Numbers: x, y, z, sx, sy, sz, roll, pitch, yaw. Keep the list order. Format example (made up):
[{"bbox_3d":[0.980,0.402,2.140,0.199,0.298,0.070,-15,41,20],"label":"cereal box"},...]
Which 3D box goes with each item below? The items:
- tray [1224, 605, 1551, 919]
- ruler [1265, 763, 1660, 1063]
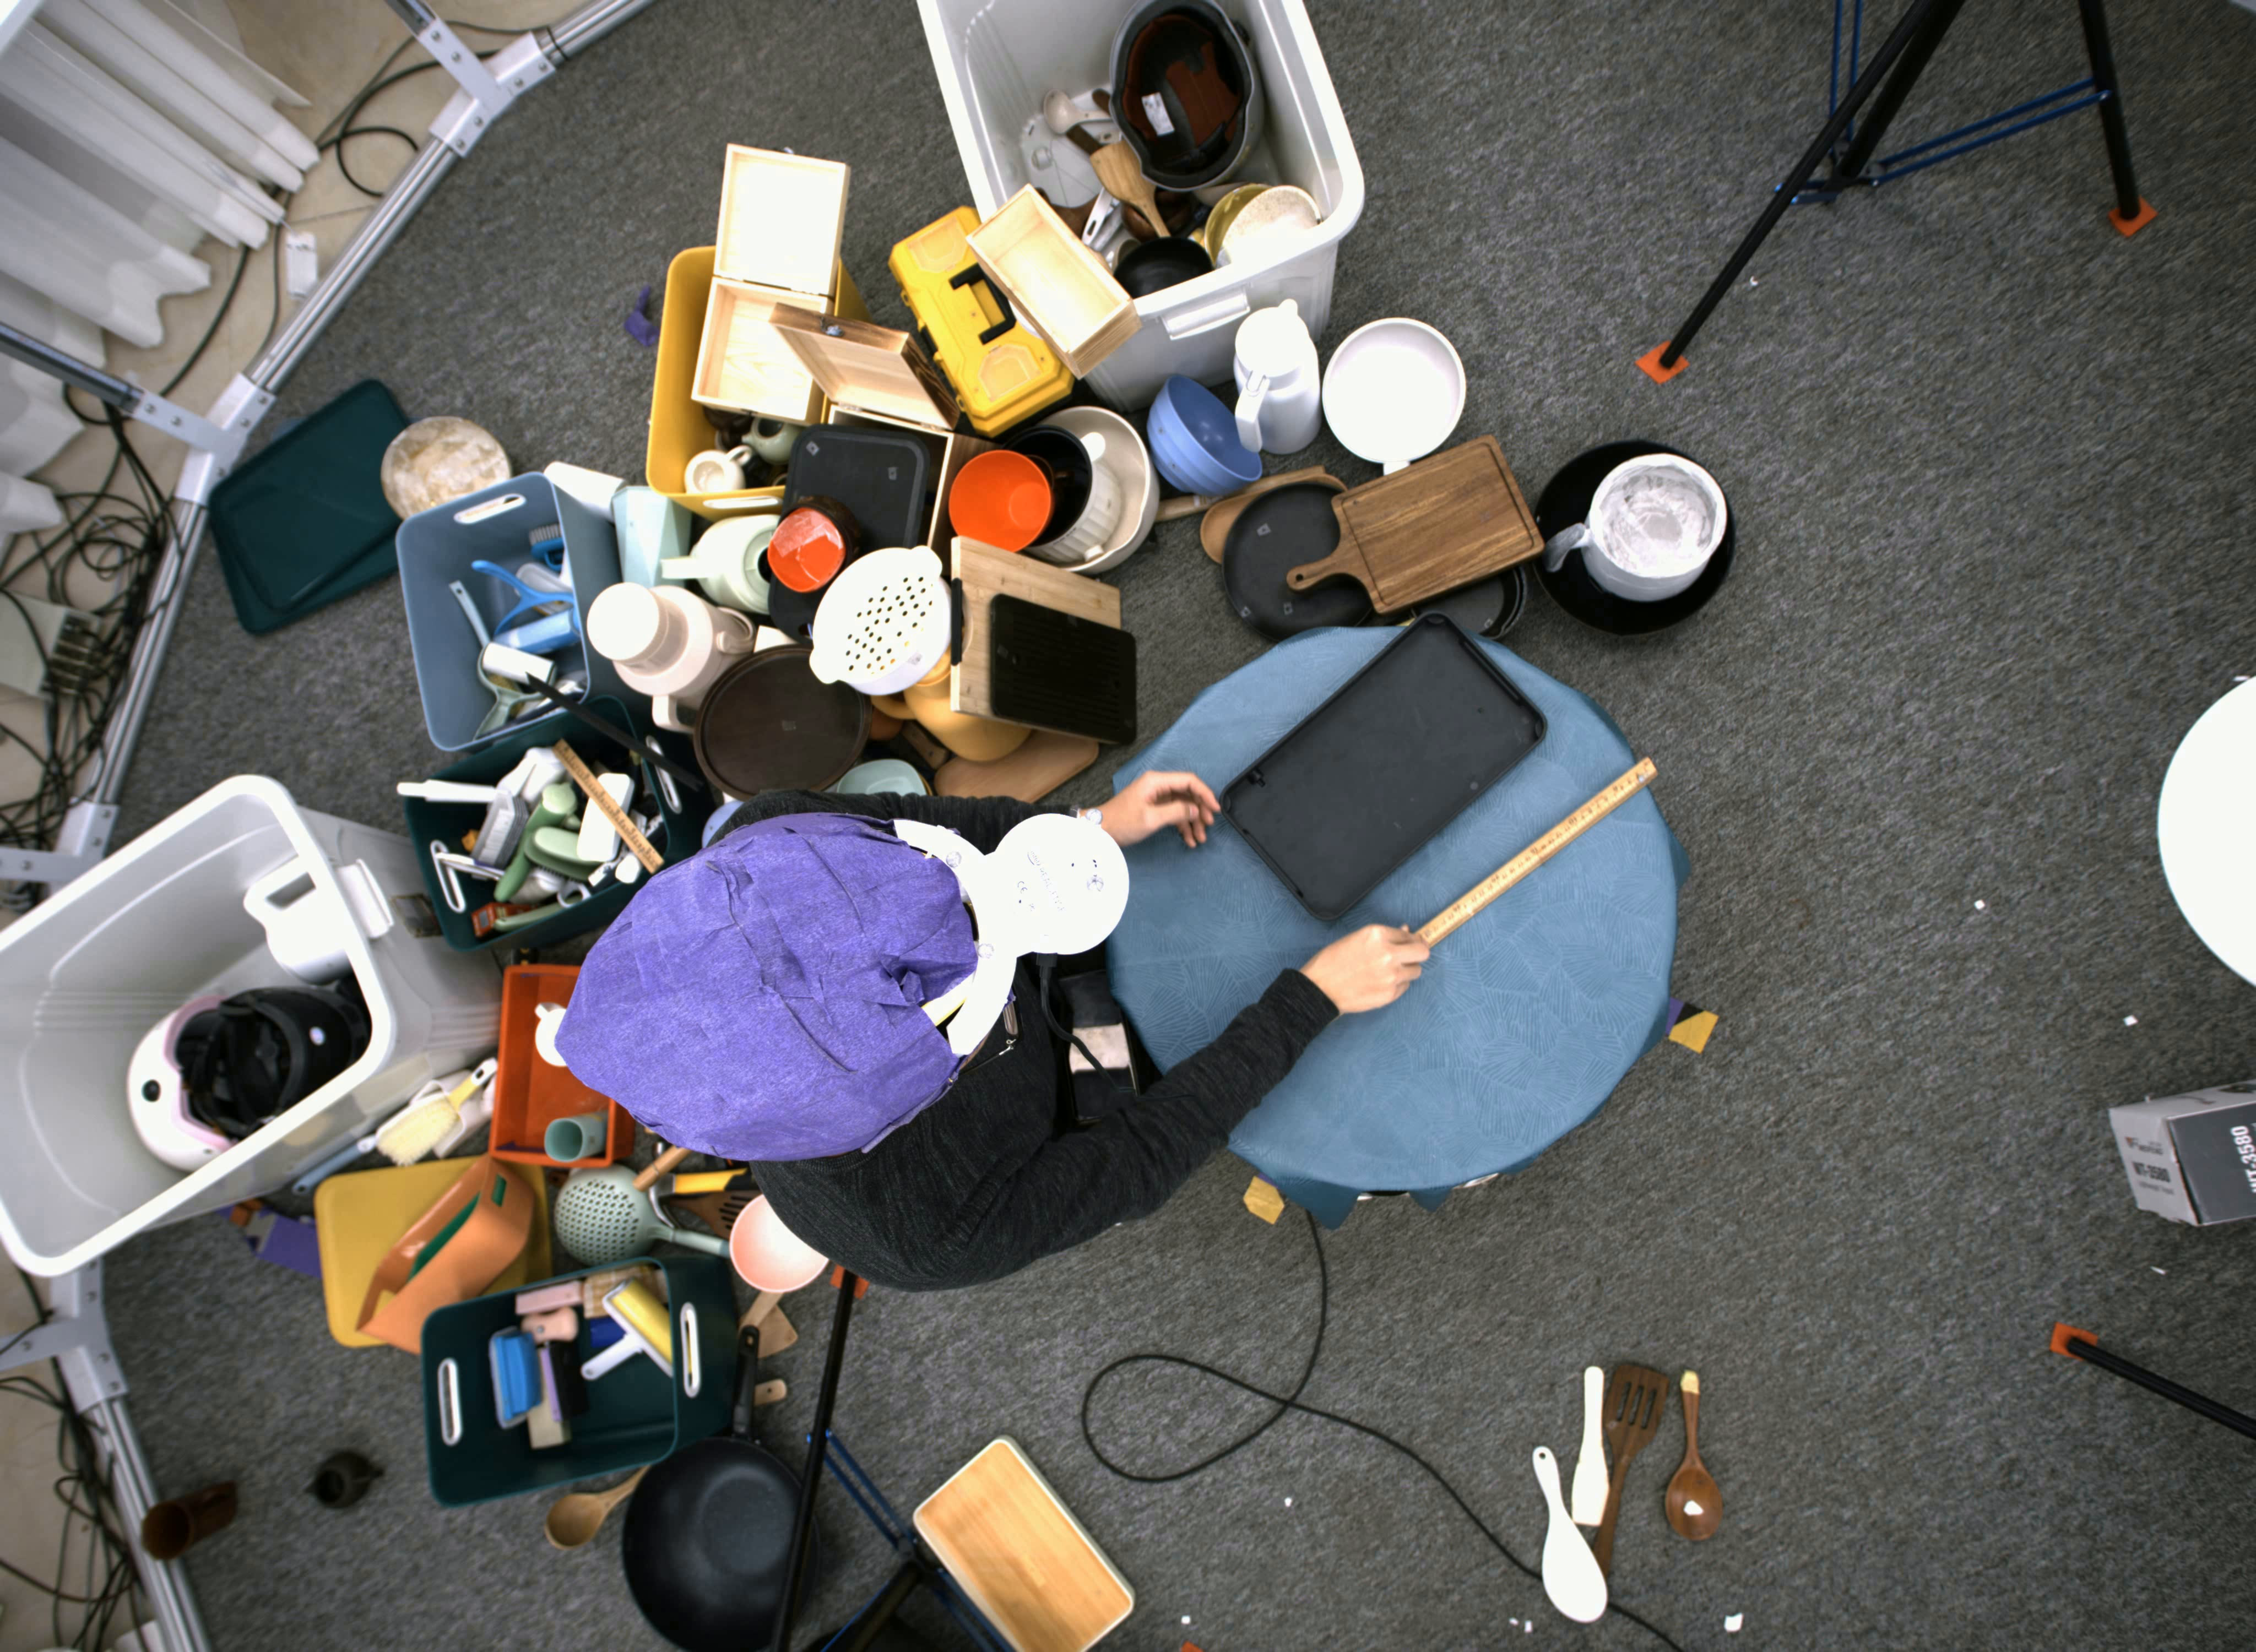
[{"bbox_3d":[0.271,-0.067,1.450,0.319,0.037,0.183,-43,80,6],"label":"tray"},{"bbox_3d":[0.346,0.090,1.434,0.503,0.006,0.027,-38,125,6],"label":"ruler"}]
